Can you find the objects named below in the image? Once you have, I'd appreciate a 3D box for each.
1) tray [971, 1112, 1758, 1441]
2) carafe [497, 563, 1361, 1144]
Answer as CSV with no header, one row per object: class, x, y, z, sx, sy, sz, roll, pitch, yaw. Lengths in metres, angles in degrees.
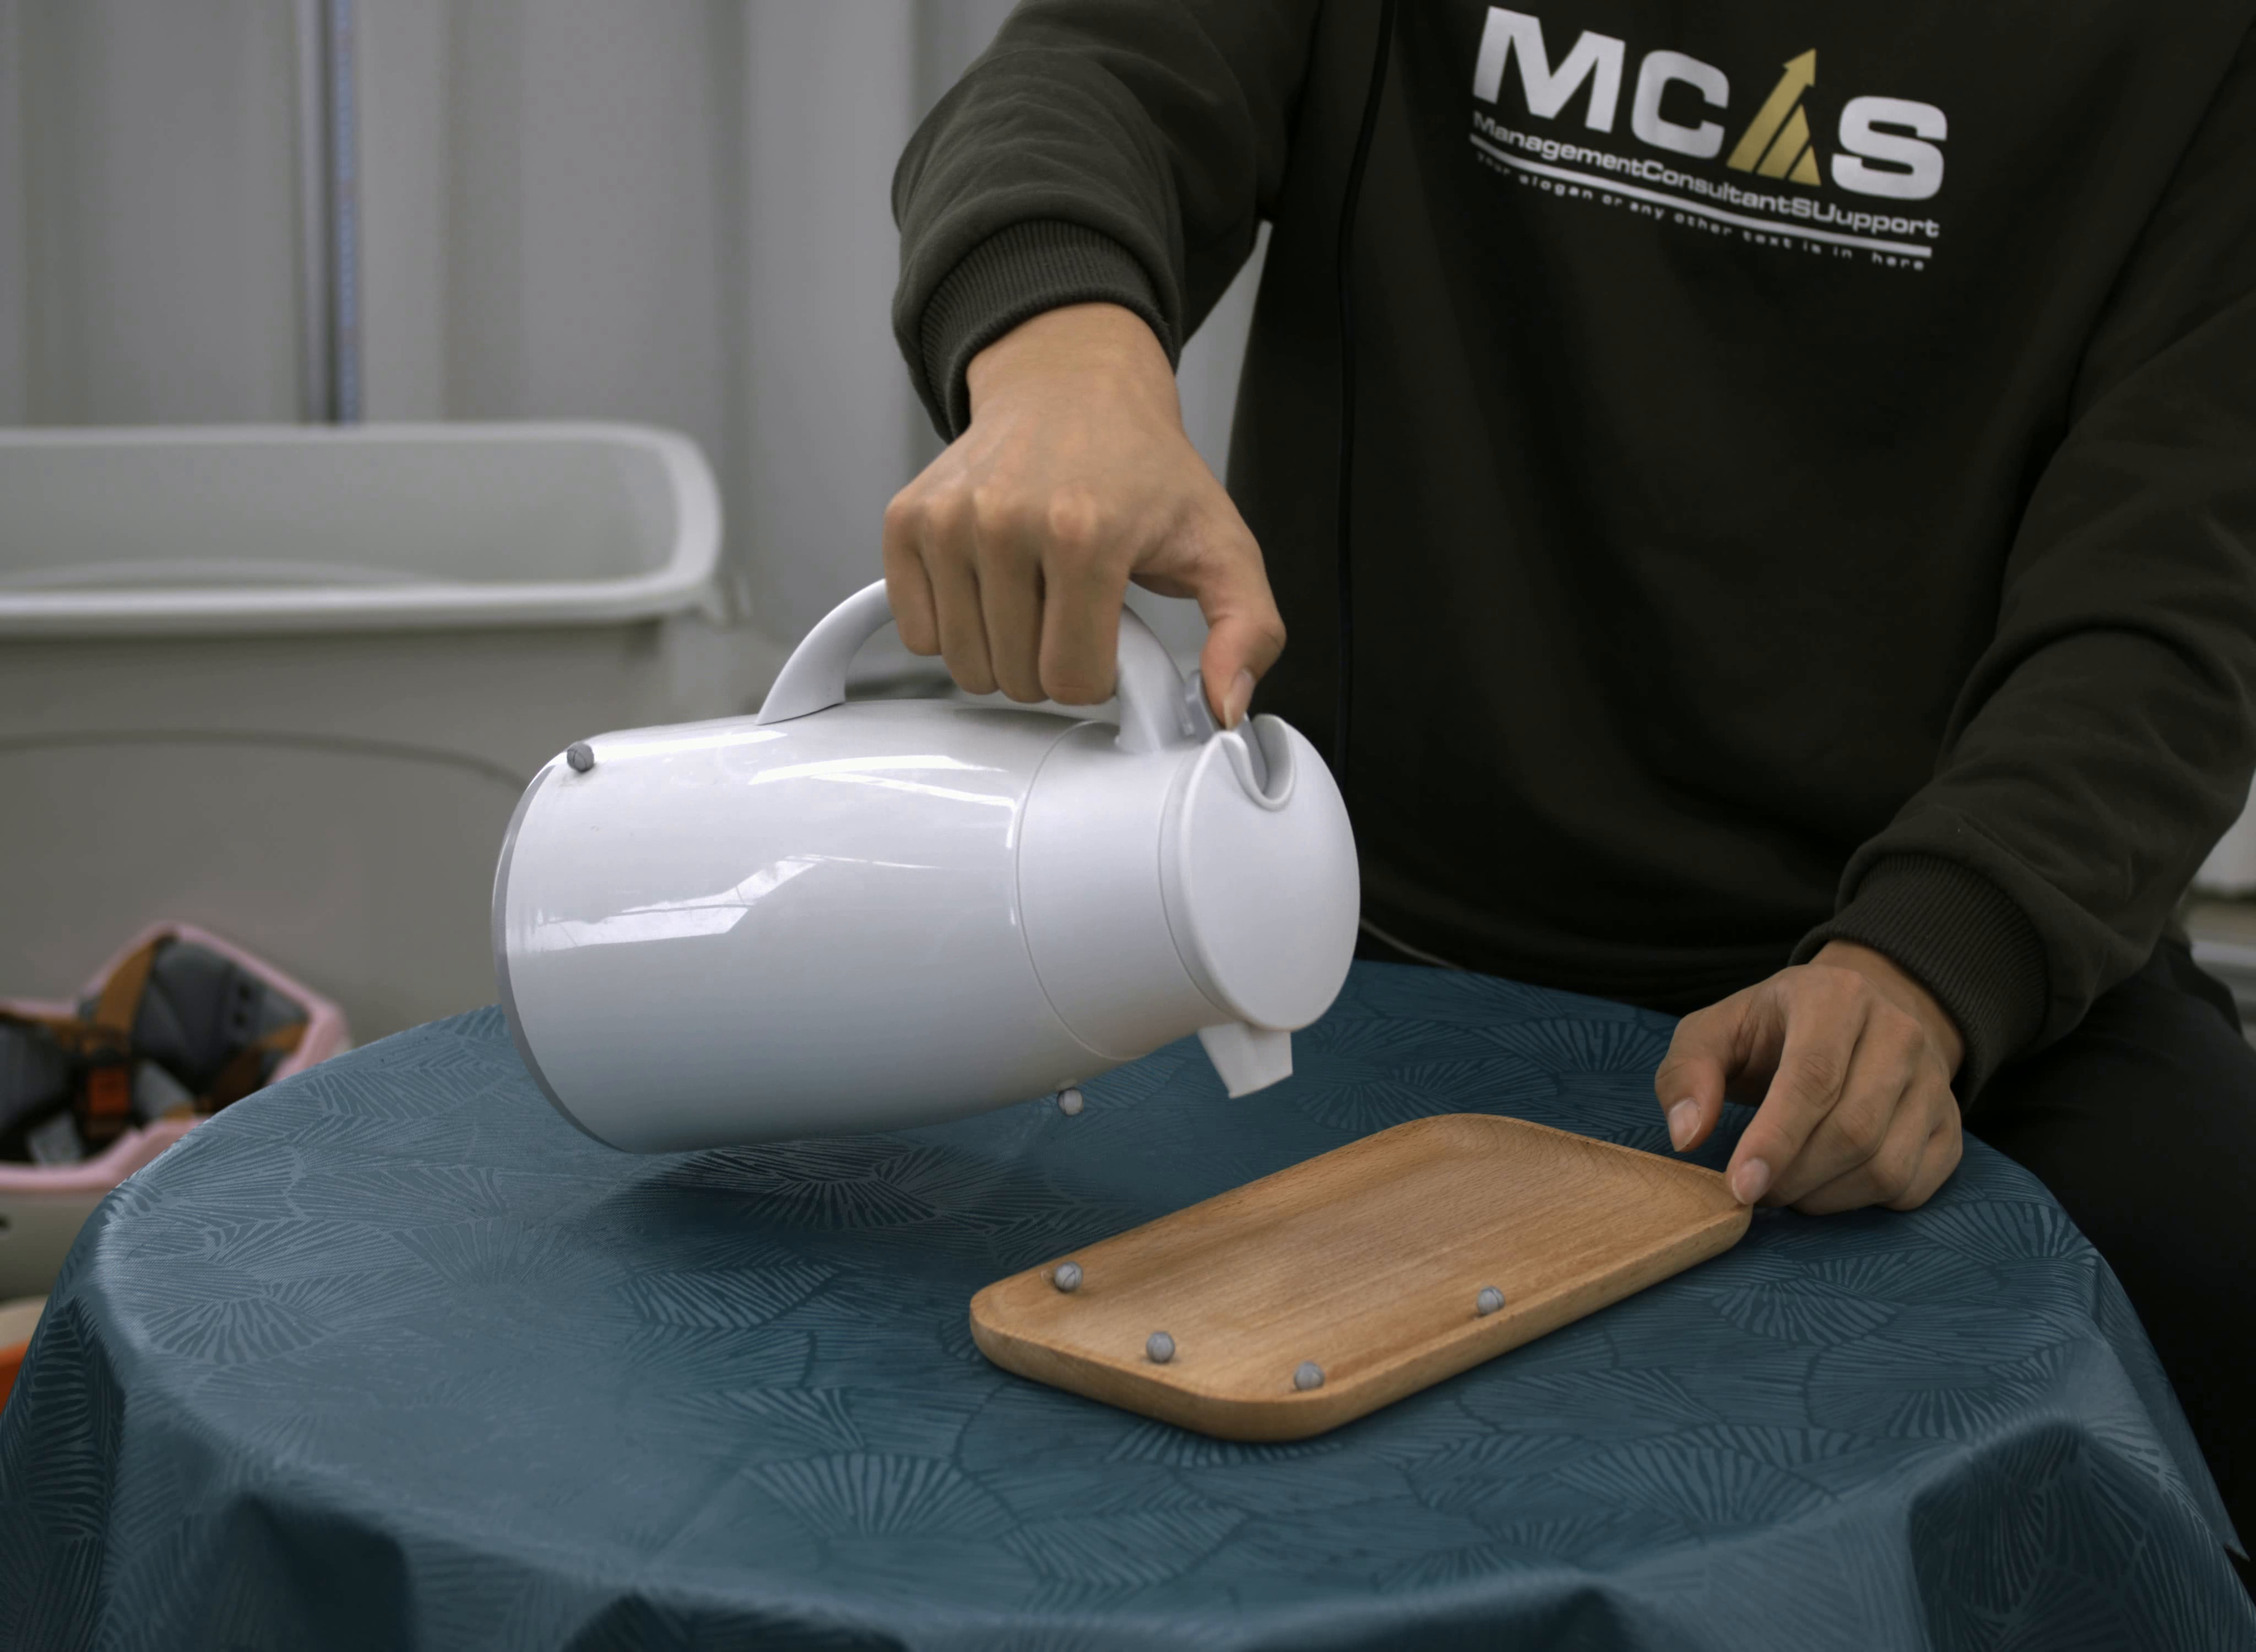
tray,0.073,0.129,1.544,0.129,0.023,0.252,17,21,38
carafe,-0.057,0.008,1.563,0.246,0.169,0.133,-4,14,35
